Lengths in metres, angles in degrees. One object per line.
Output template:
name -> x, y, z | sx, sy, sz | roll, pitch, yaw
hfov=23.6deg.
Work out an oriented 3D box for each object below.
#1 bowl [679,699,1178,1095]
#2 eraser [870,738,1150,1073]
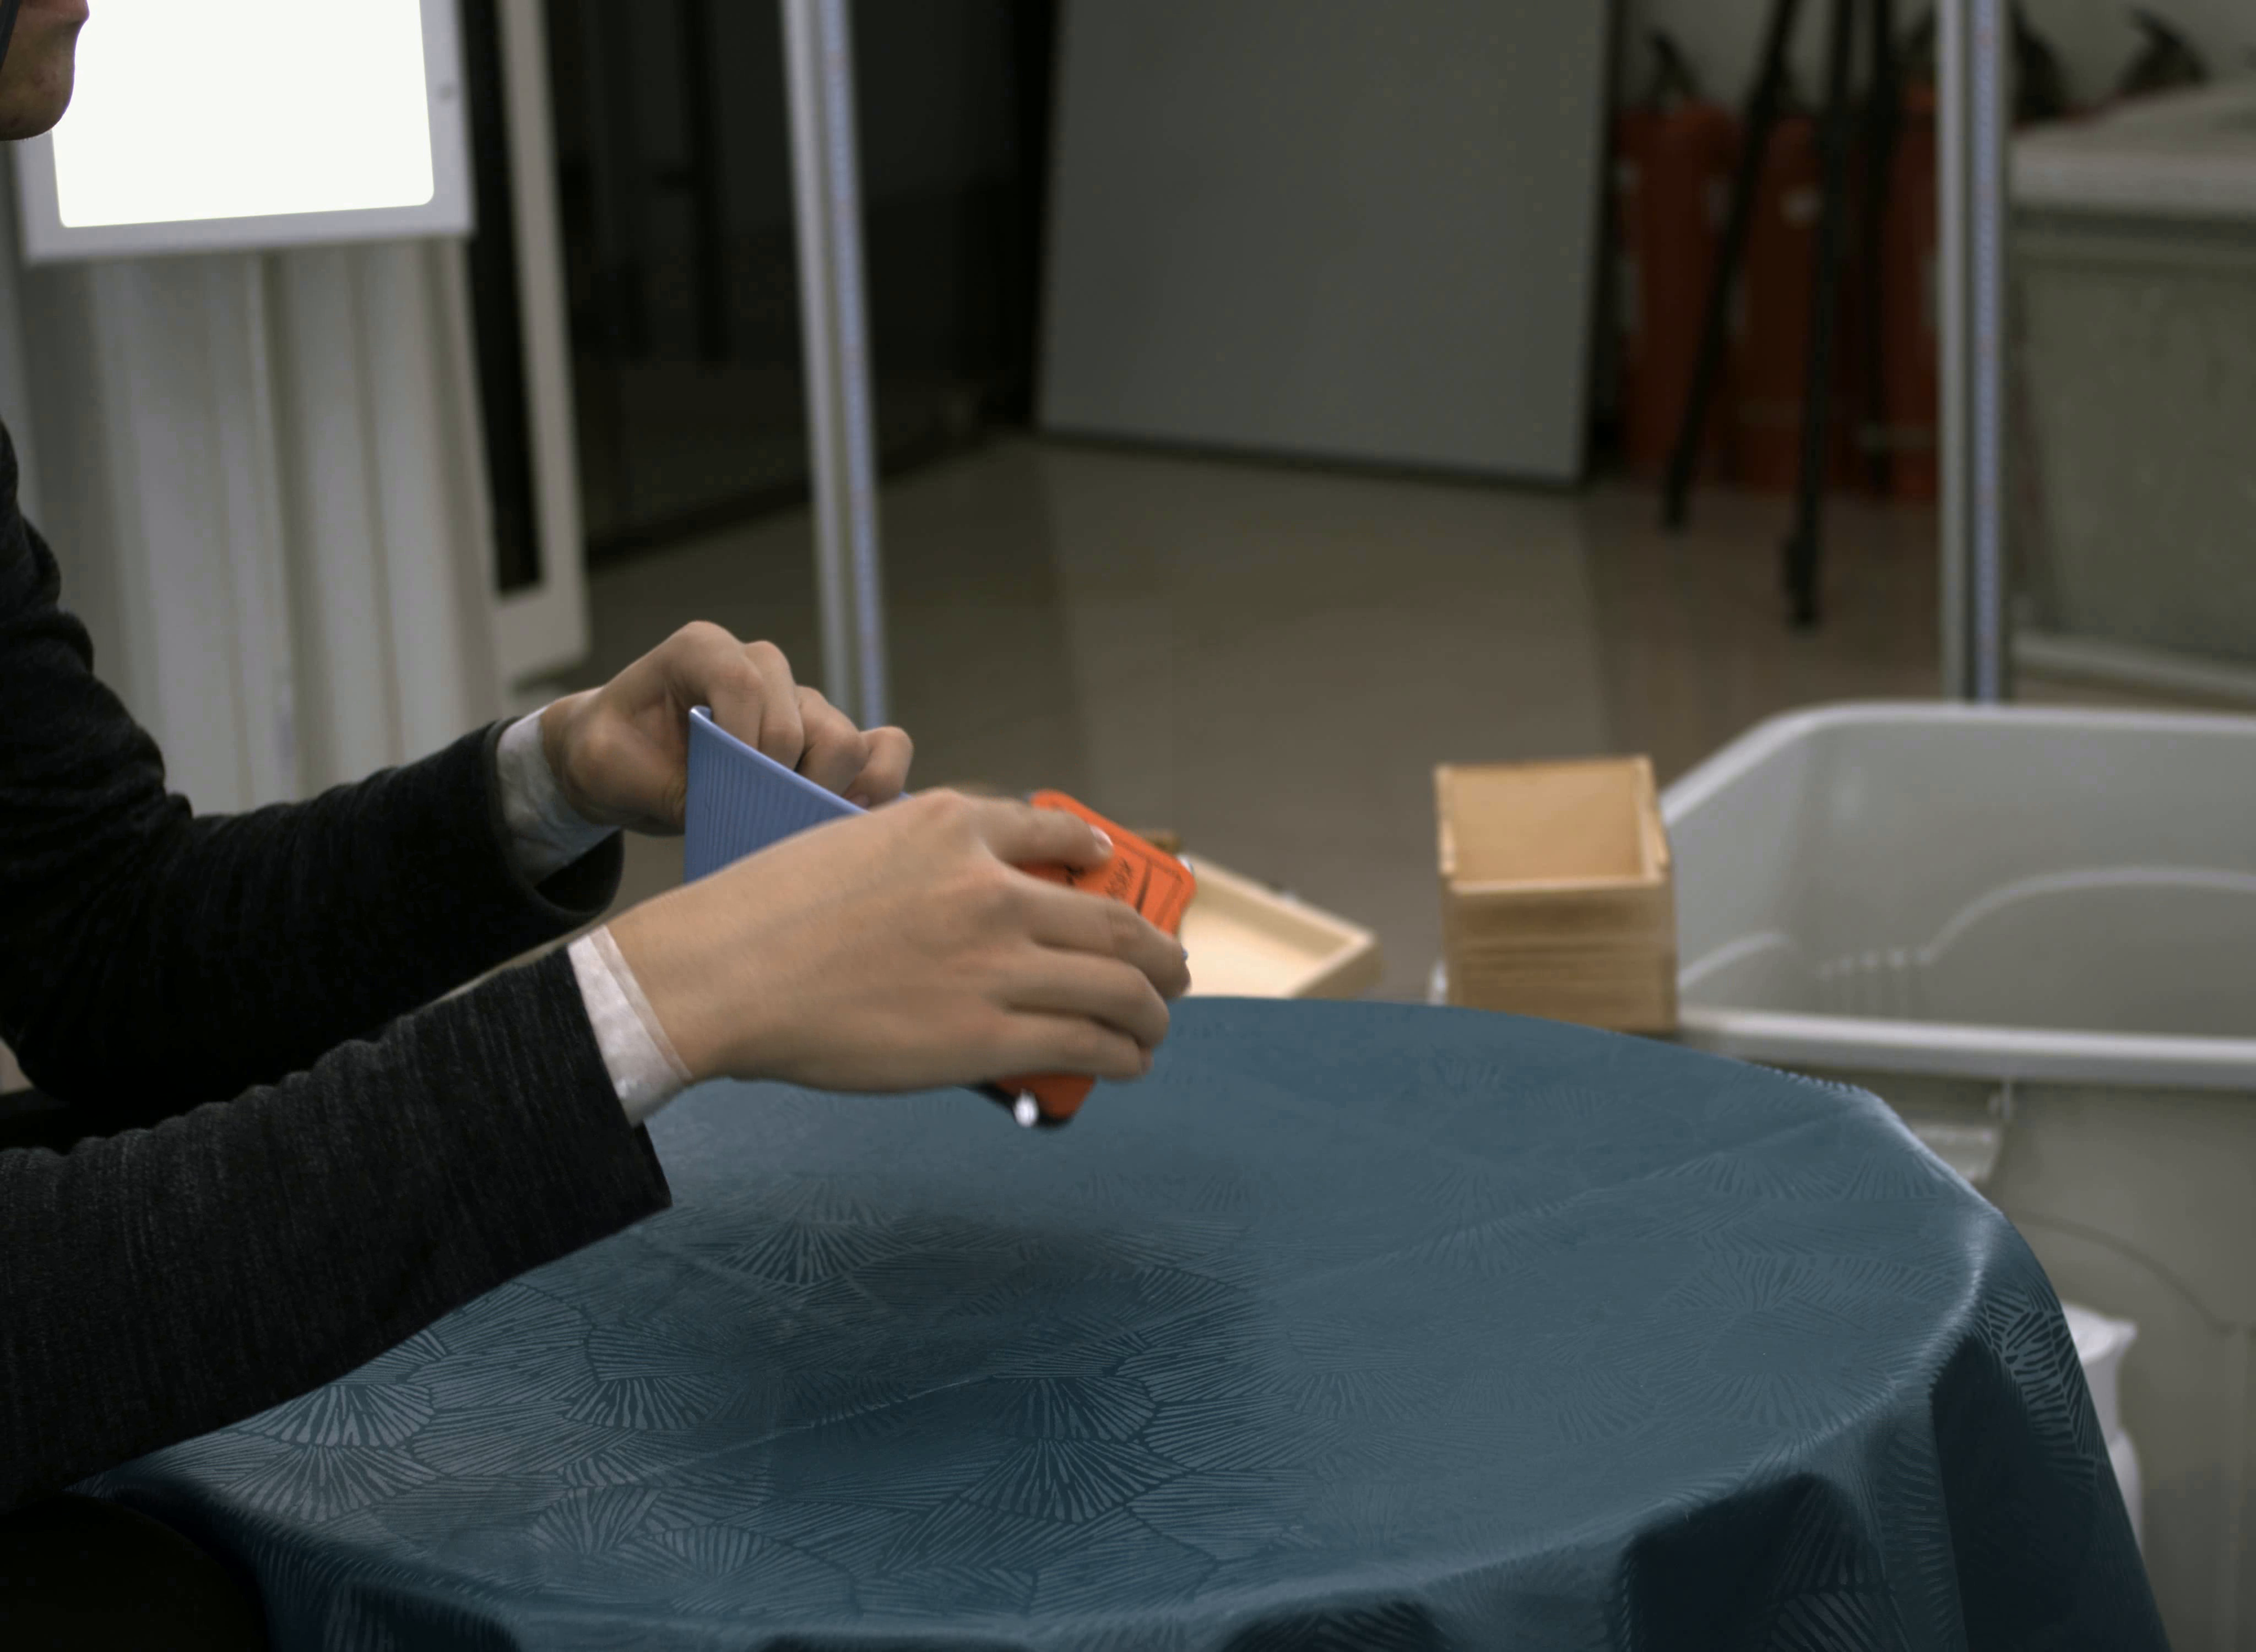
bowl -> -0.075, 0.029, 1.698 | 0.174, 0.071, 0.176 | 27, 2, -2
eraser -> -0.034, 0.023, 1.586 | 0.058, 0.023, 0.108 | 28, 41, -3
